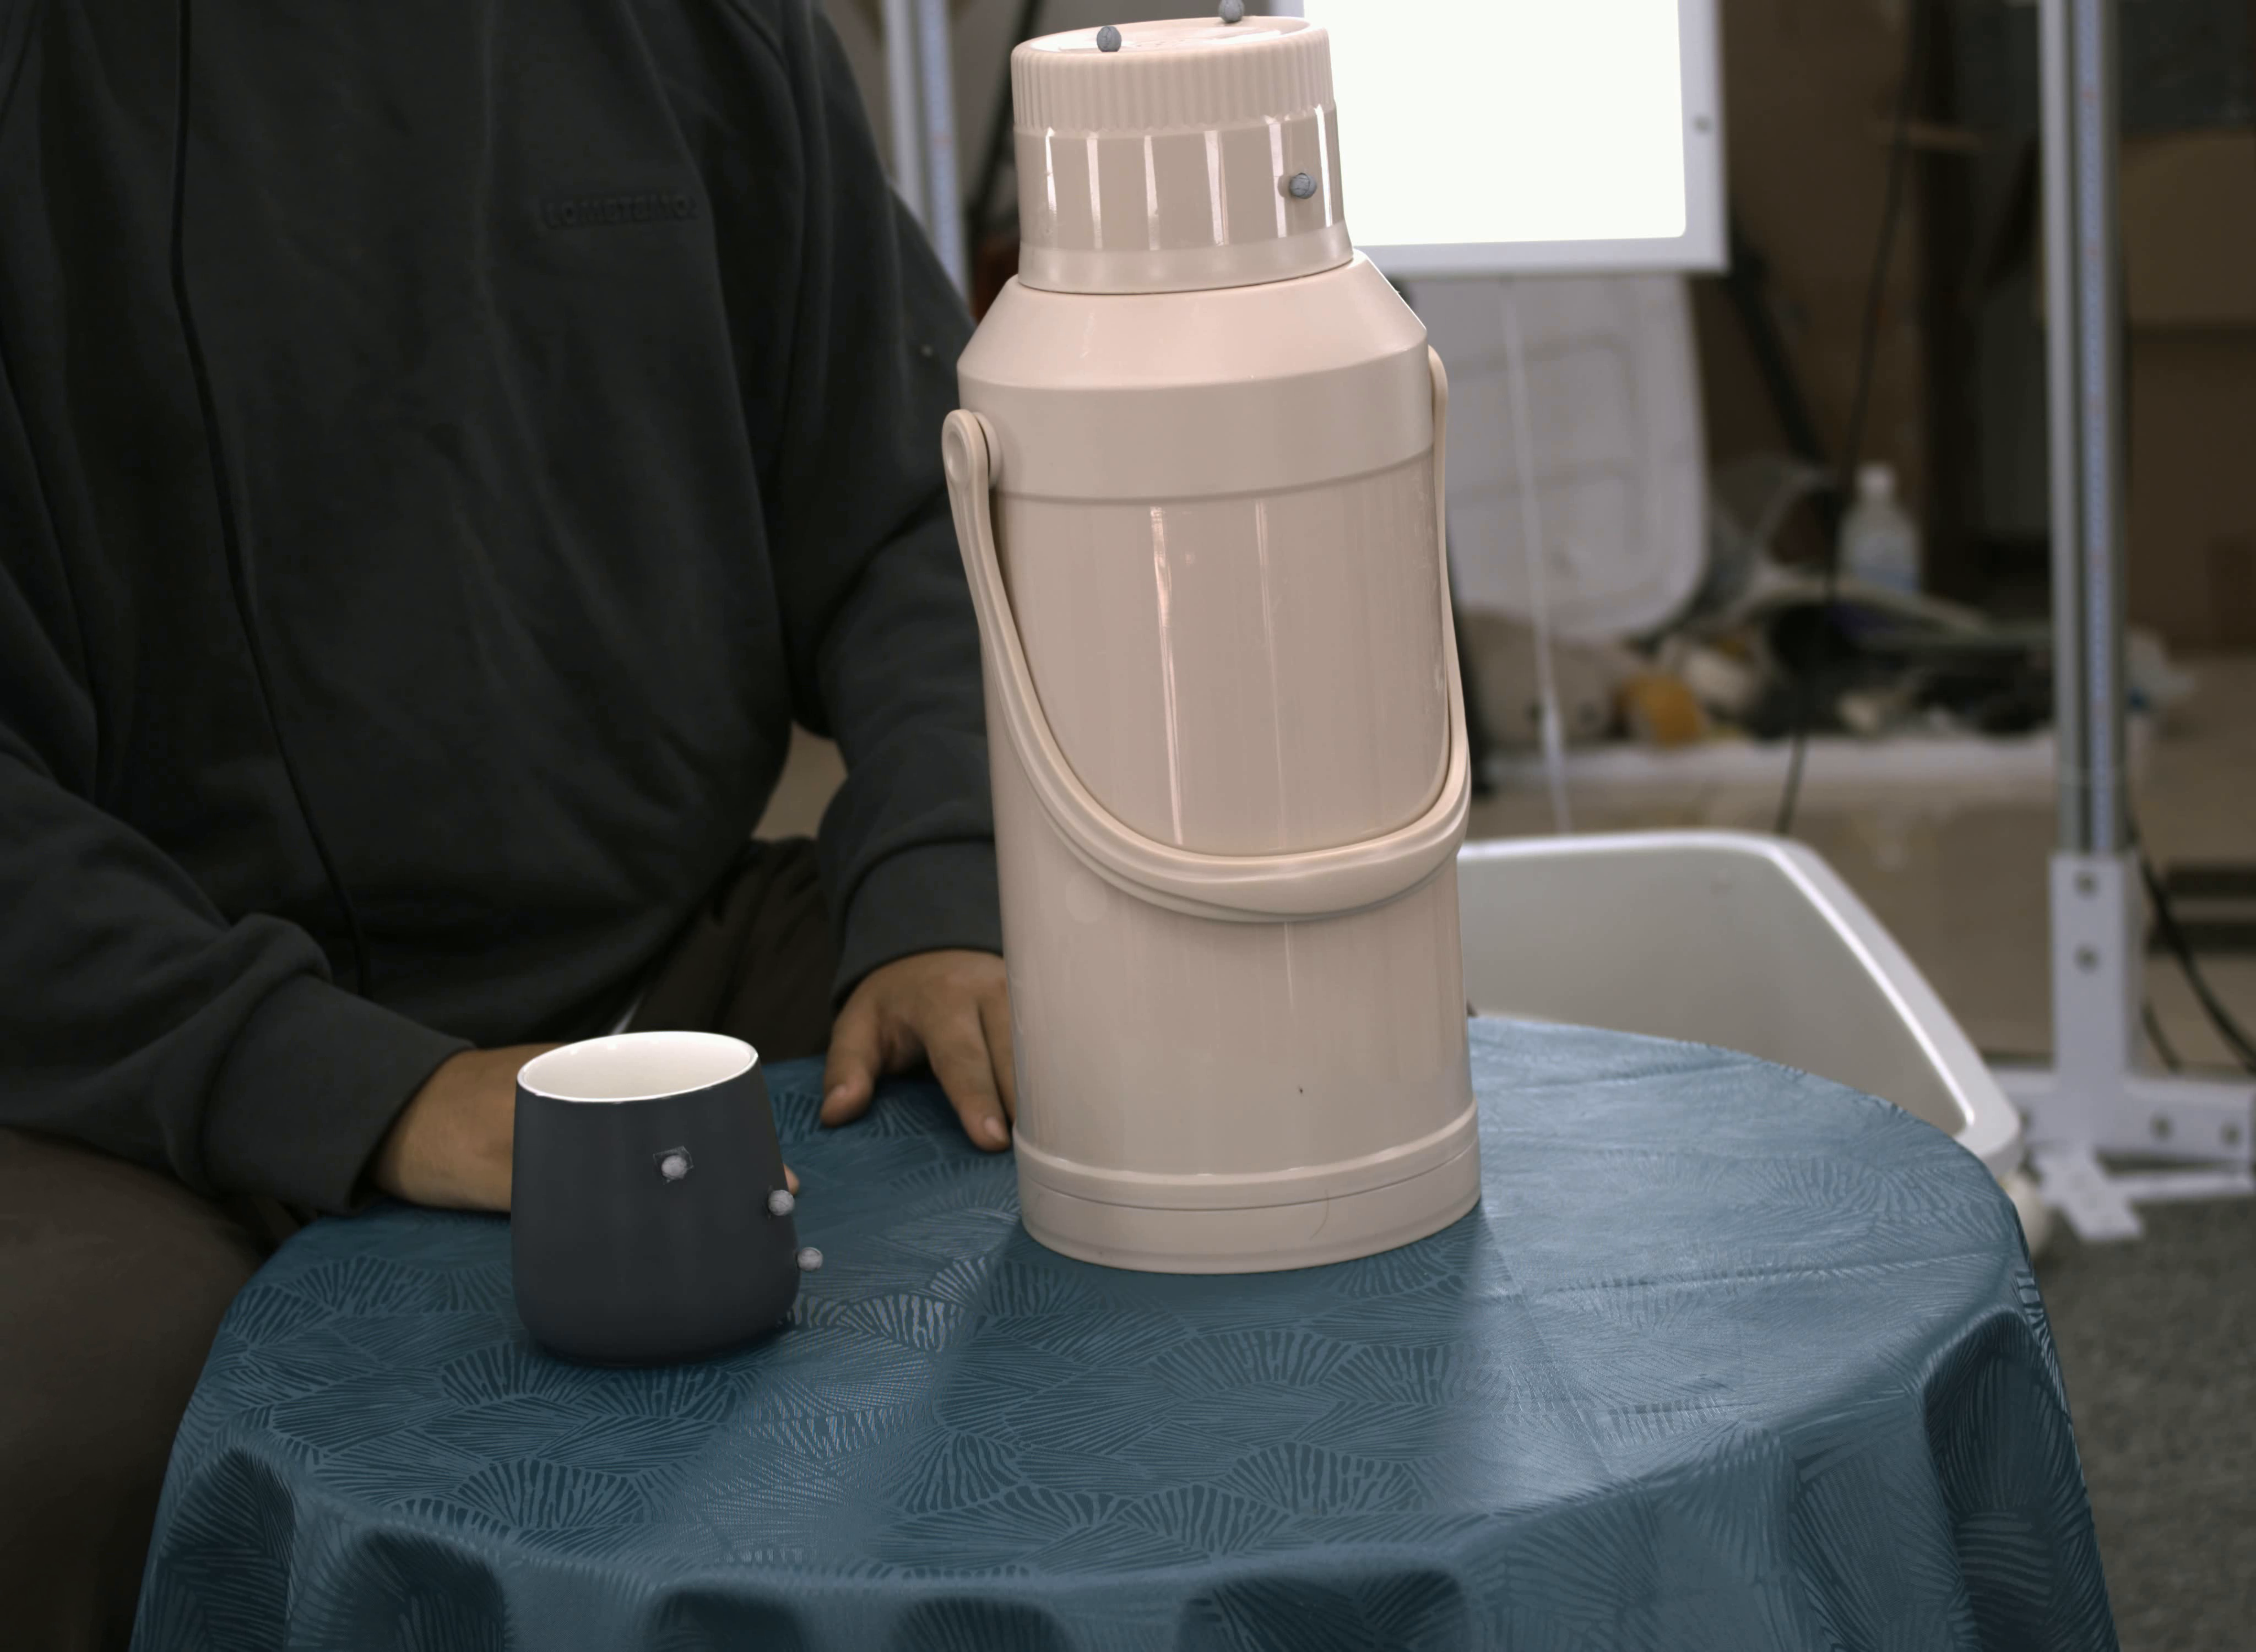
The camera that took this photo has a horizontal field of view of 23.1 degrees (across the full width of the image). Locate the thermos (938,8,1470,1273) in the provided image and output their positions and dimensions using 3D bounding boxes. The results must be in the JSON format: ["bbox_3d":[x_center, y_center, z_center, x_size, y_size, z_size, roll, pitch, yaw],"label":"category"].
[{"bbox_3d":[0.021,-0.067,1.844,0.172,0.408,0.210,-11,15,-23],"label":"thermos"}]

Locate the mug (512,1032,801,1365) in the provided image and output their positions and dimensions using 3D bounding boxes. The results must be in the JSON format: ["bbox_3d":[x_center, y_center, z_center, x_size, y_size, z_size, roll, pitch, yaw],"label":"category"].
[{"bbox_3d":[-0.159,0.117,1.801,0.092,0.090,0.124,-8,14,-14],"label":"mug"}]
